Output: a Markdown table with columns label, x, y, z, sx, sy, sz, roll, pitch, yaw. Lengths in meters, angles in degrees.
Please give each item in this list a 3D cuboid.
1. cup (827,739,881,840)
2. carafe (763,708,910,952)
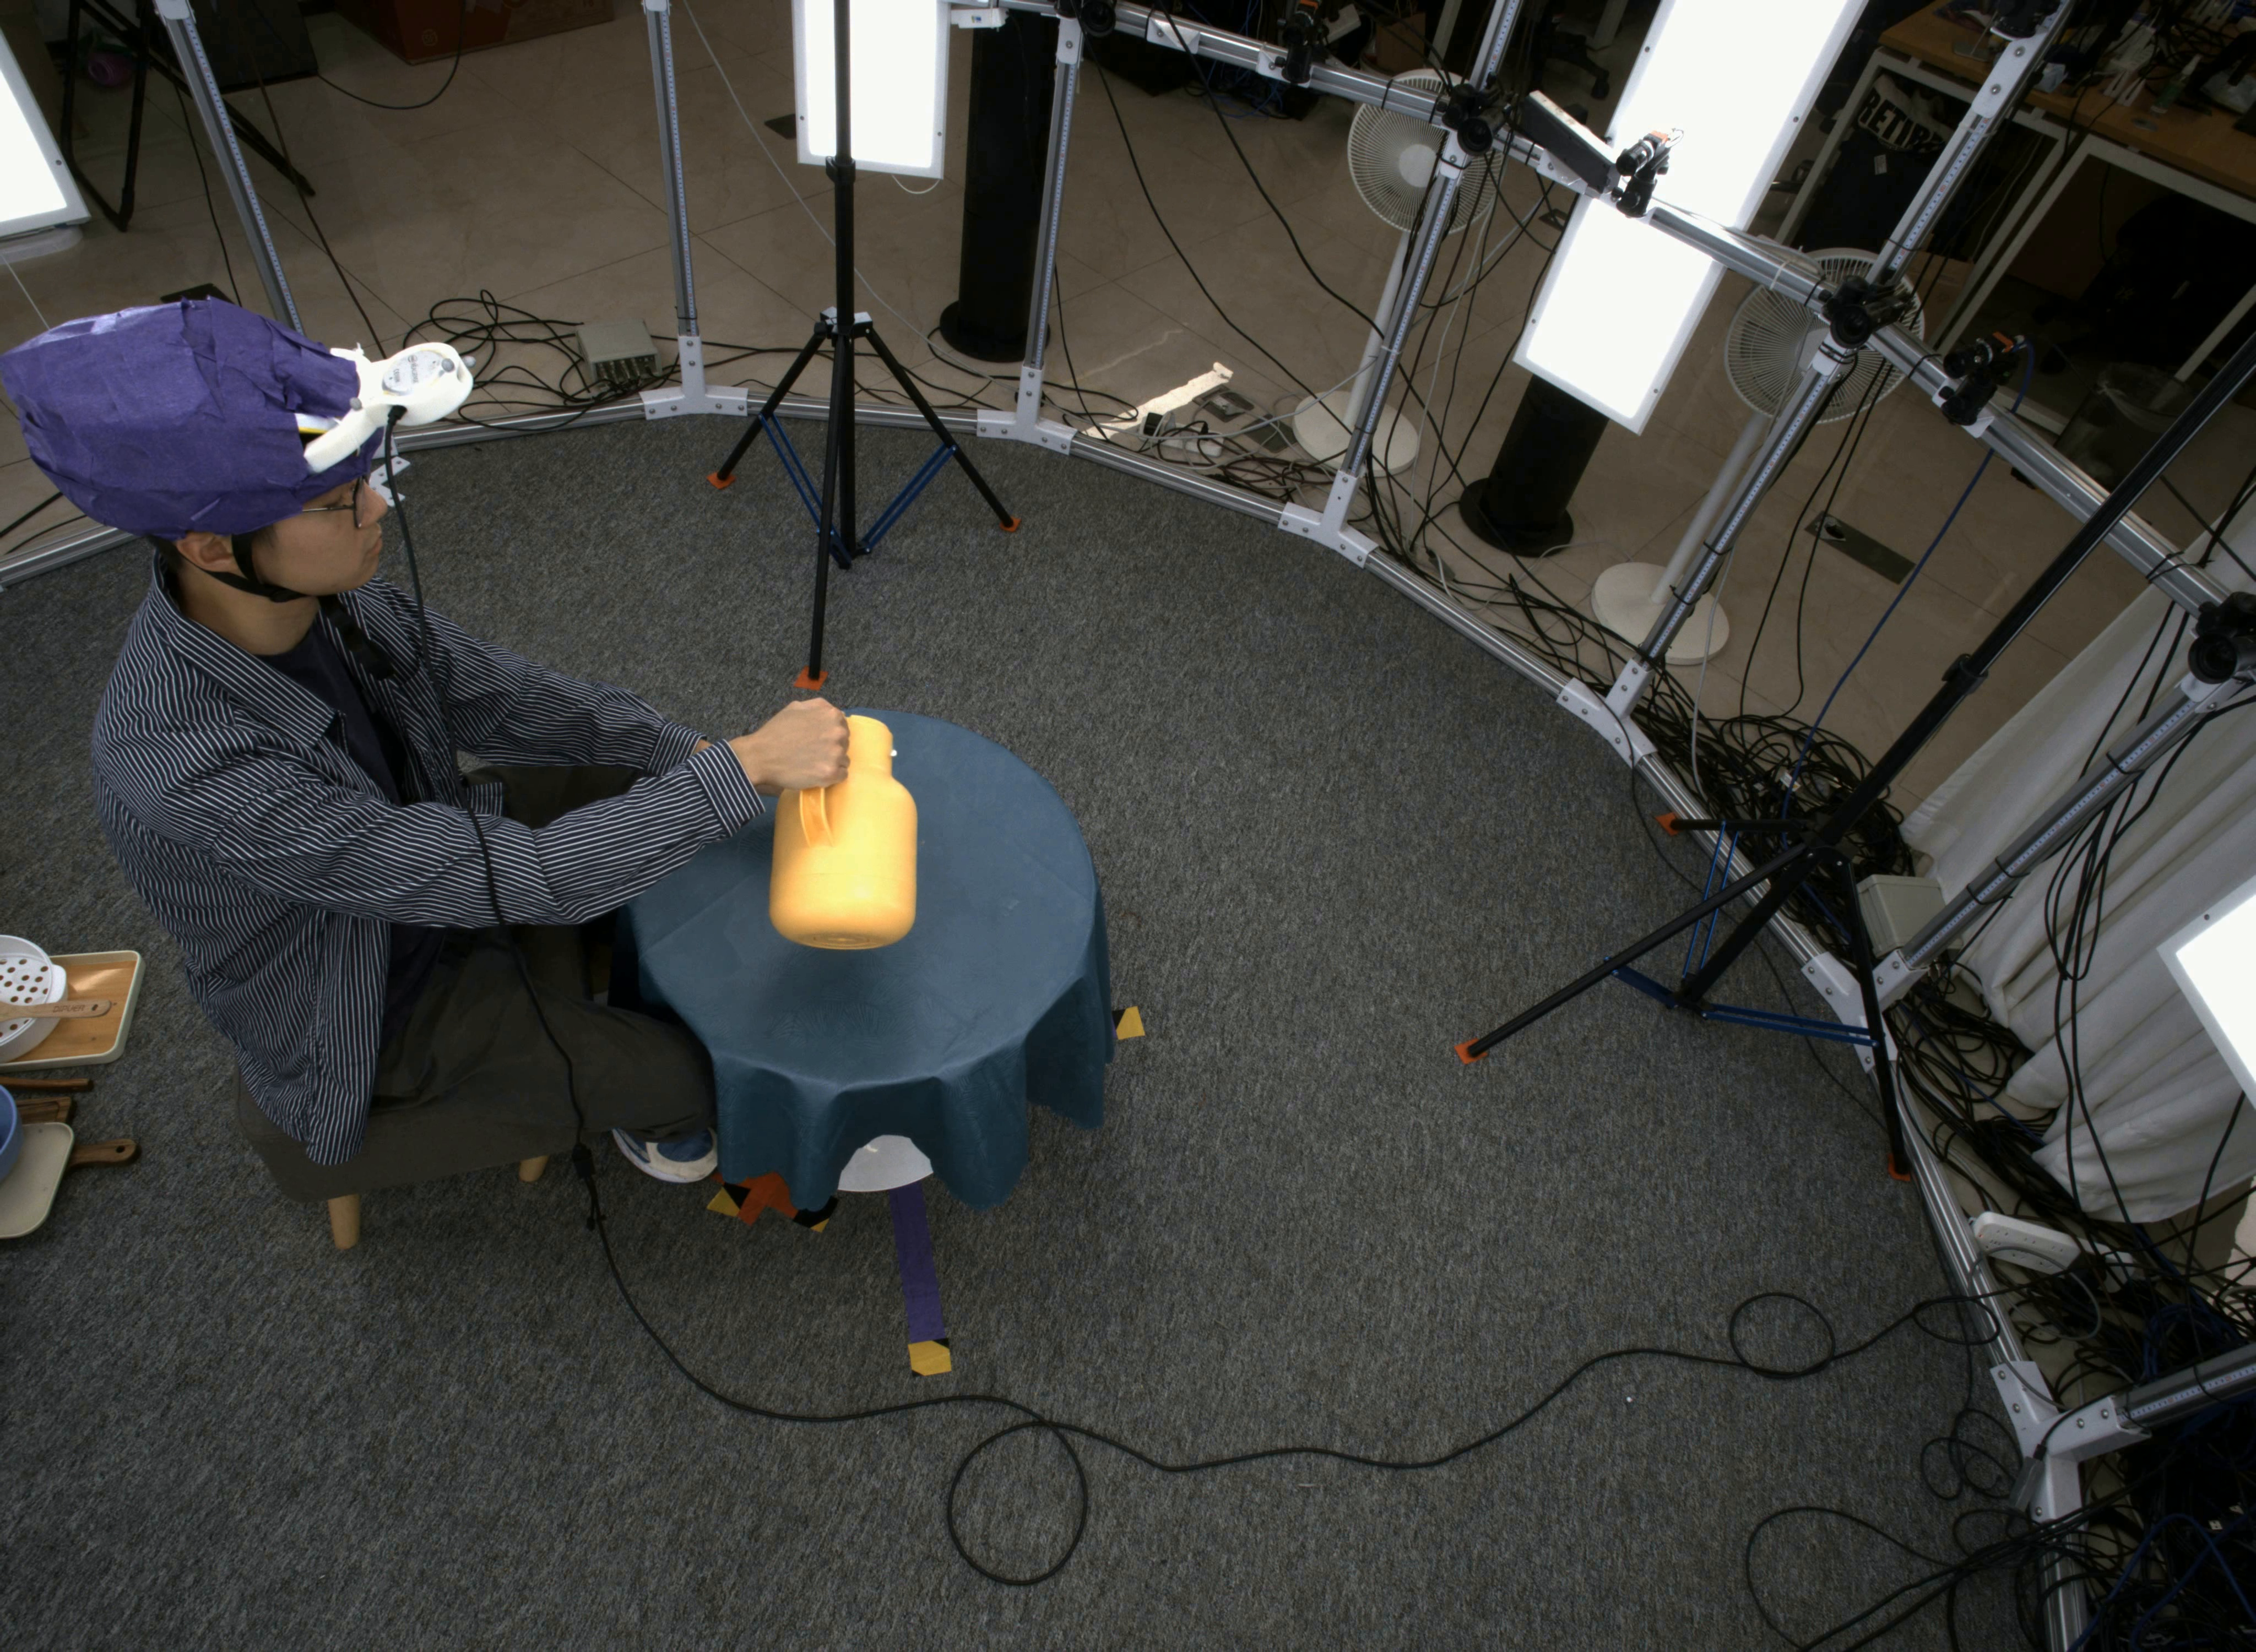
| label | x | y | z | sx | sy | sz | roll | pitch | yaw |
| --- | --- | --- | --- | --- | --- | --- | --- | --- | --- |
| cup | -0.353 | -0.046 | 1.659 | 0.067 | 0.134 | 0.065 | 8 | 56 | -10 |
| carafe | -0.335 | -0.001 | 1.477 | 0.161 | 0.206 | 0.260 | -3 | 75 | 4 |
